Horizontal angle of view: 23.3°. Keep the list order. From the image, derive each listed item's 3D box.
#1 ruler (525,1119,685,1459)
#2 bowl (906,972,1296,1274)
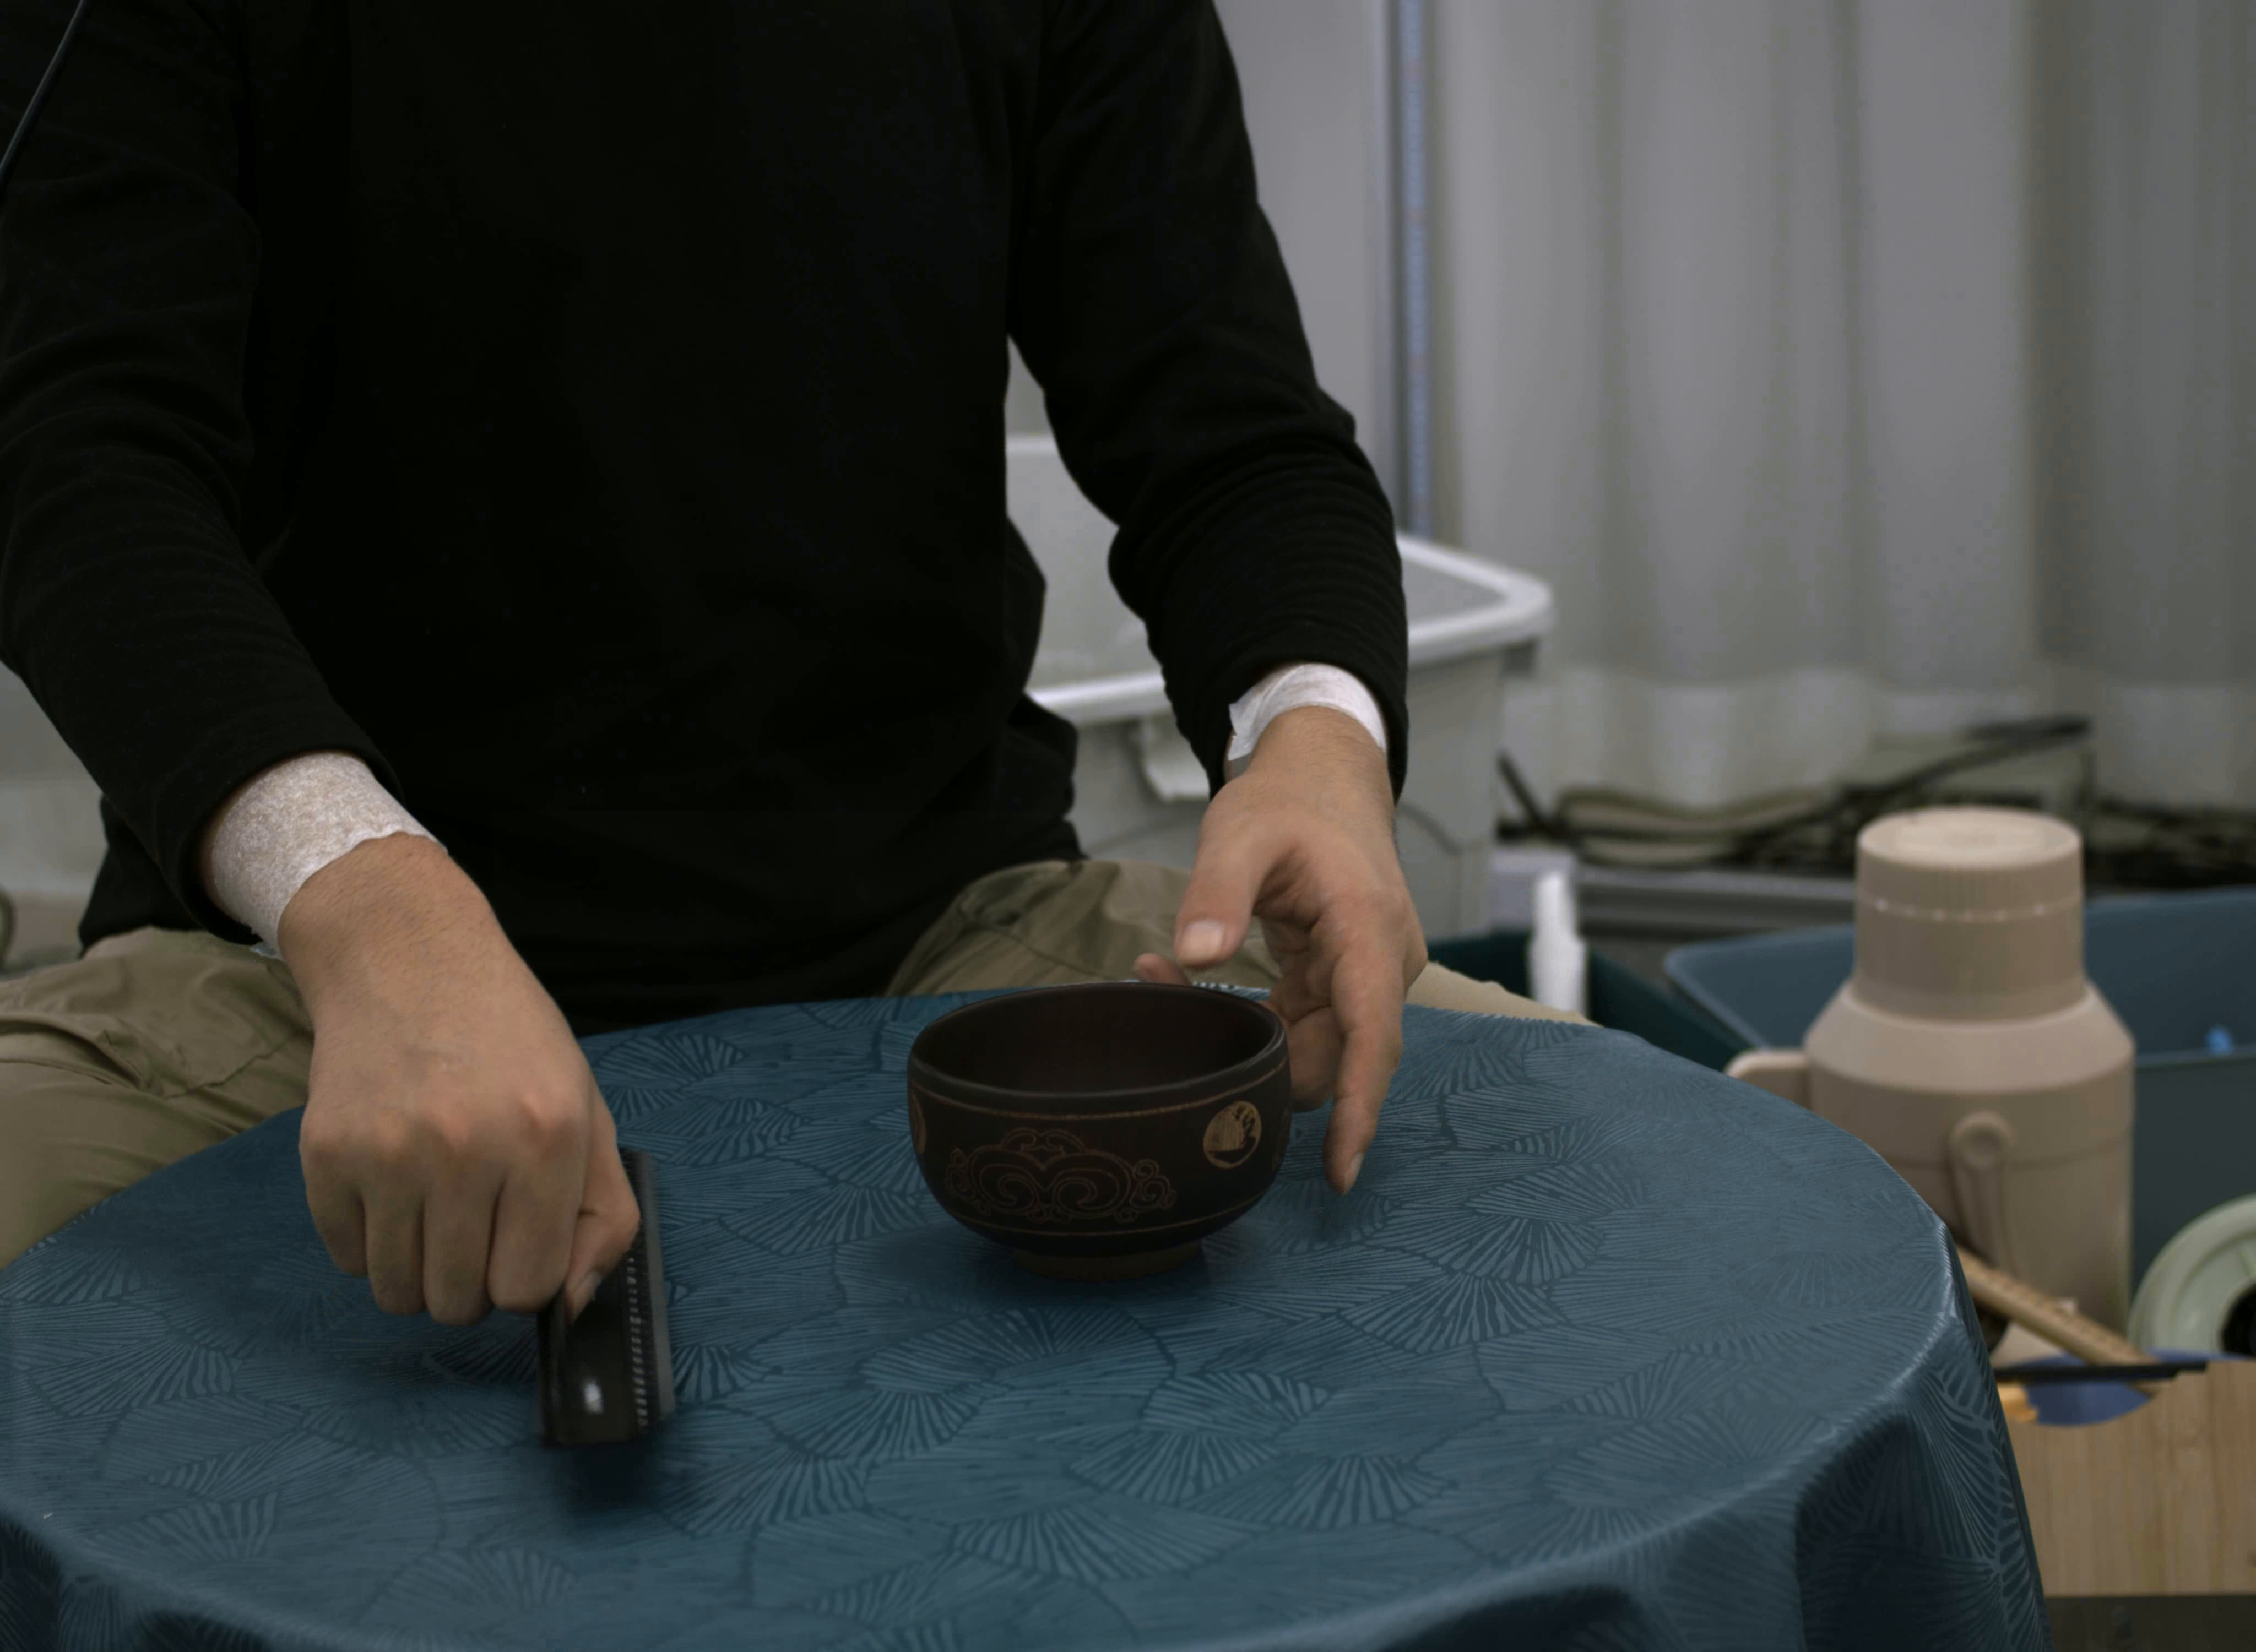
[{"bbox_3d":[-0.156,0.132,1.618,0.039,0.017,0.314,1,11,-7],"label":"ruler"},{"bbox_3d":[-0.008,0.094,1.652,0.117,0.069,0.119,-2,15,0],"label":"bowl"}]
